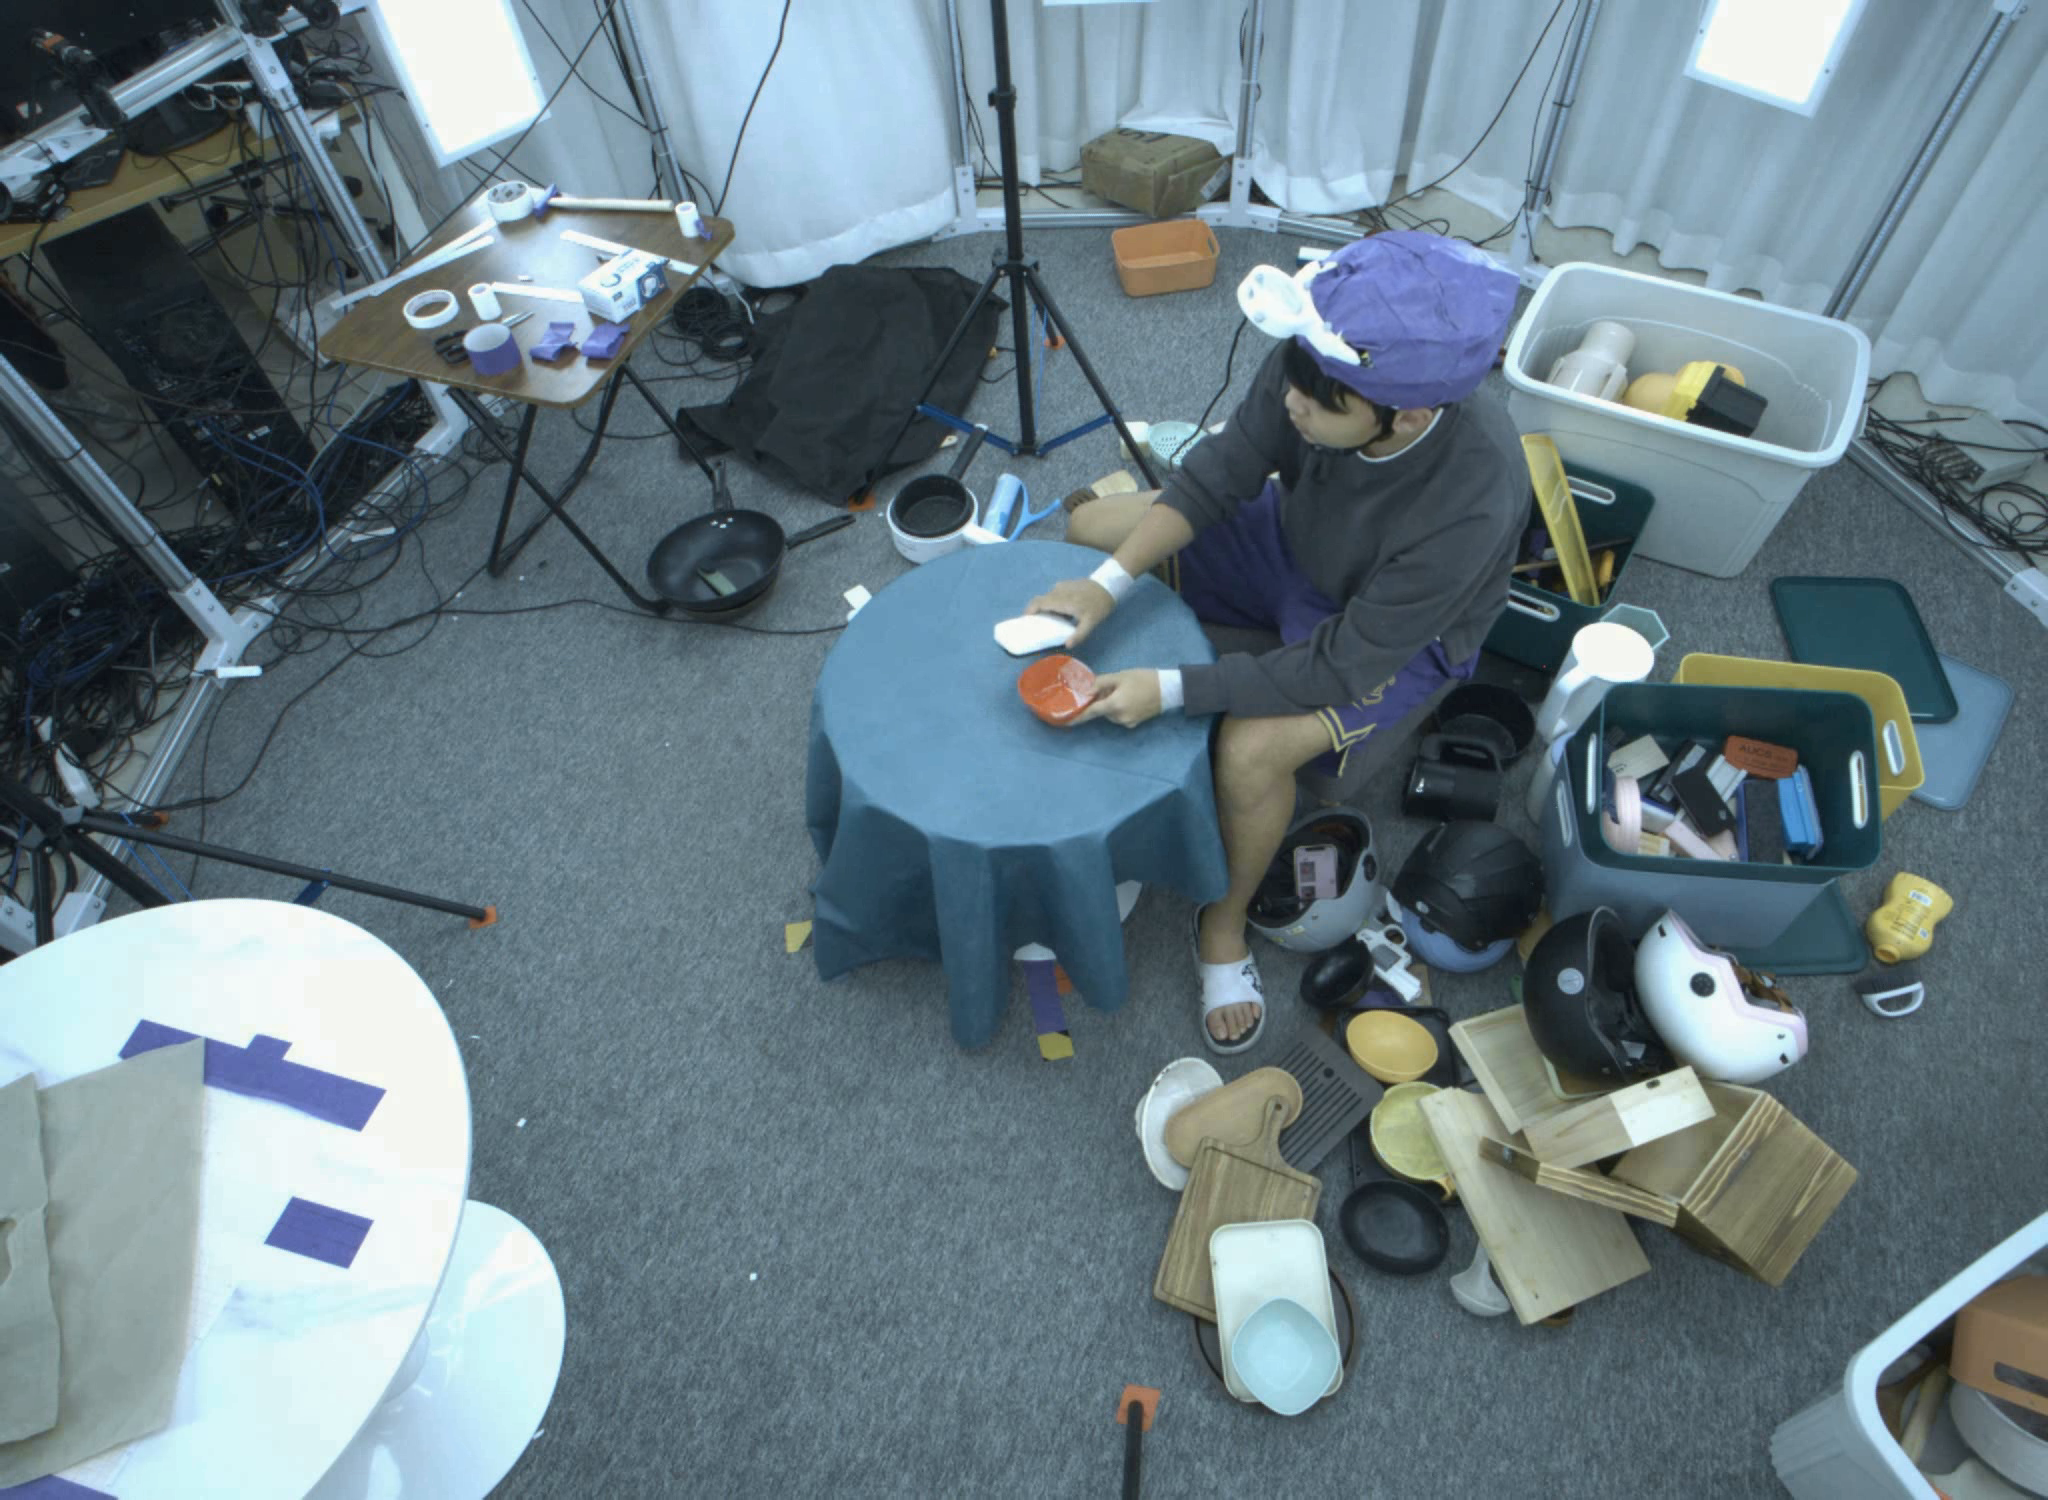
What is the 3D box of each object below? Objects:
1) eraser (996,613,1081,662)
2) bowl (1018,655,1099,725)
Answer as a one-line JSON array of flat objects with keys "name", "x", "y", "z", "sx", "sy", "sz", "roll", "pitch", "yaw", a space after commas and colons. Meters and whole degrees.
[{"name": "eraser", "x": 0.022, "y": -0.168, "z": 1.822, "sx": 0.133, "sy": 0.034, "sz": 0.062, "roll": -19, "pitch": 51, "yaw": -36}, {"name": "bowl", "x": 0.050, "y": -0.082, "z": 1.812, "sx": 0.119, "sy": 0.052, "sz": 0.117, "roll": 2, "pitch": 50, "yaw": -1}]
